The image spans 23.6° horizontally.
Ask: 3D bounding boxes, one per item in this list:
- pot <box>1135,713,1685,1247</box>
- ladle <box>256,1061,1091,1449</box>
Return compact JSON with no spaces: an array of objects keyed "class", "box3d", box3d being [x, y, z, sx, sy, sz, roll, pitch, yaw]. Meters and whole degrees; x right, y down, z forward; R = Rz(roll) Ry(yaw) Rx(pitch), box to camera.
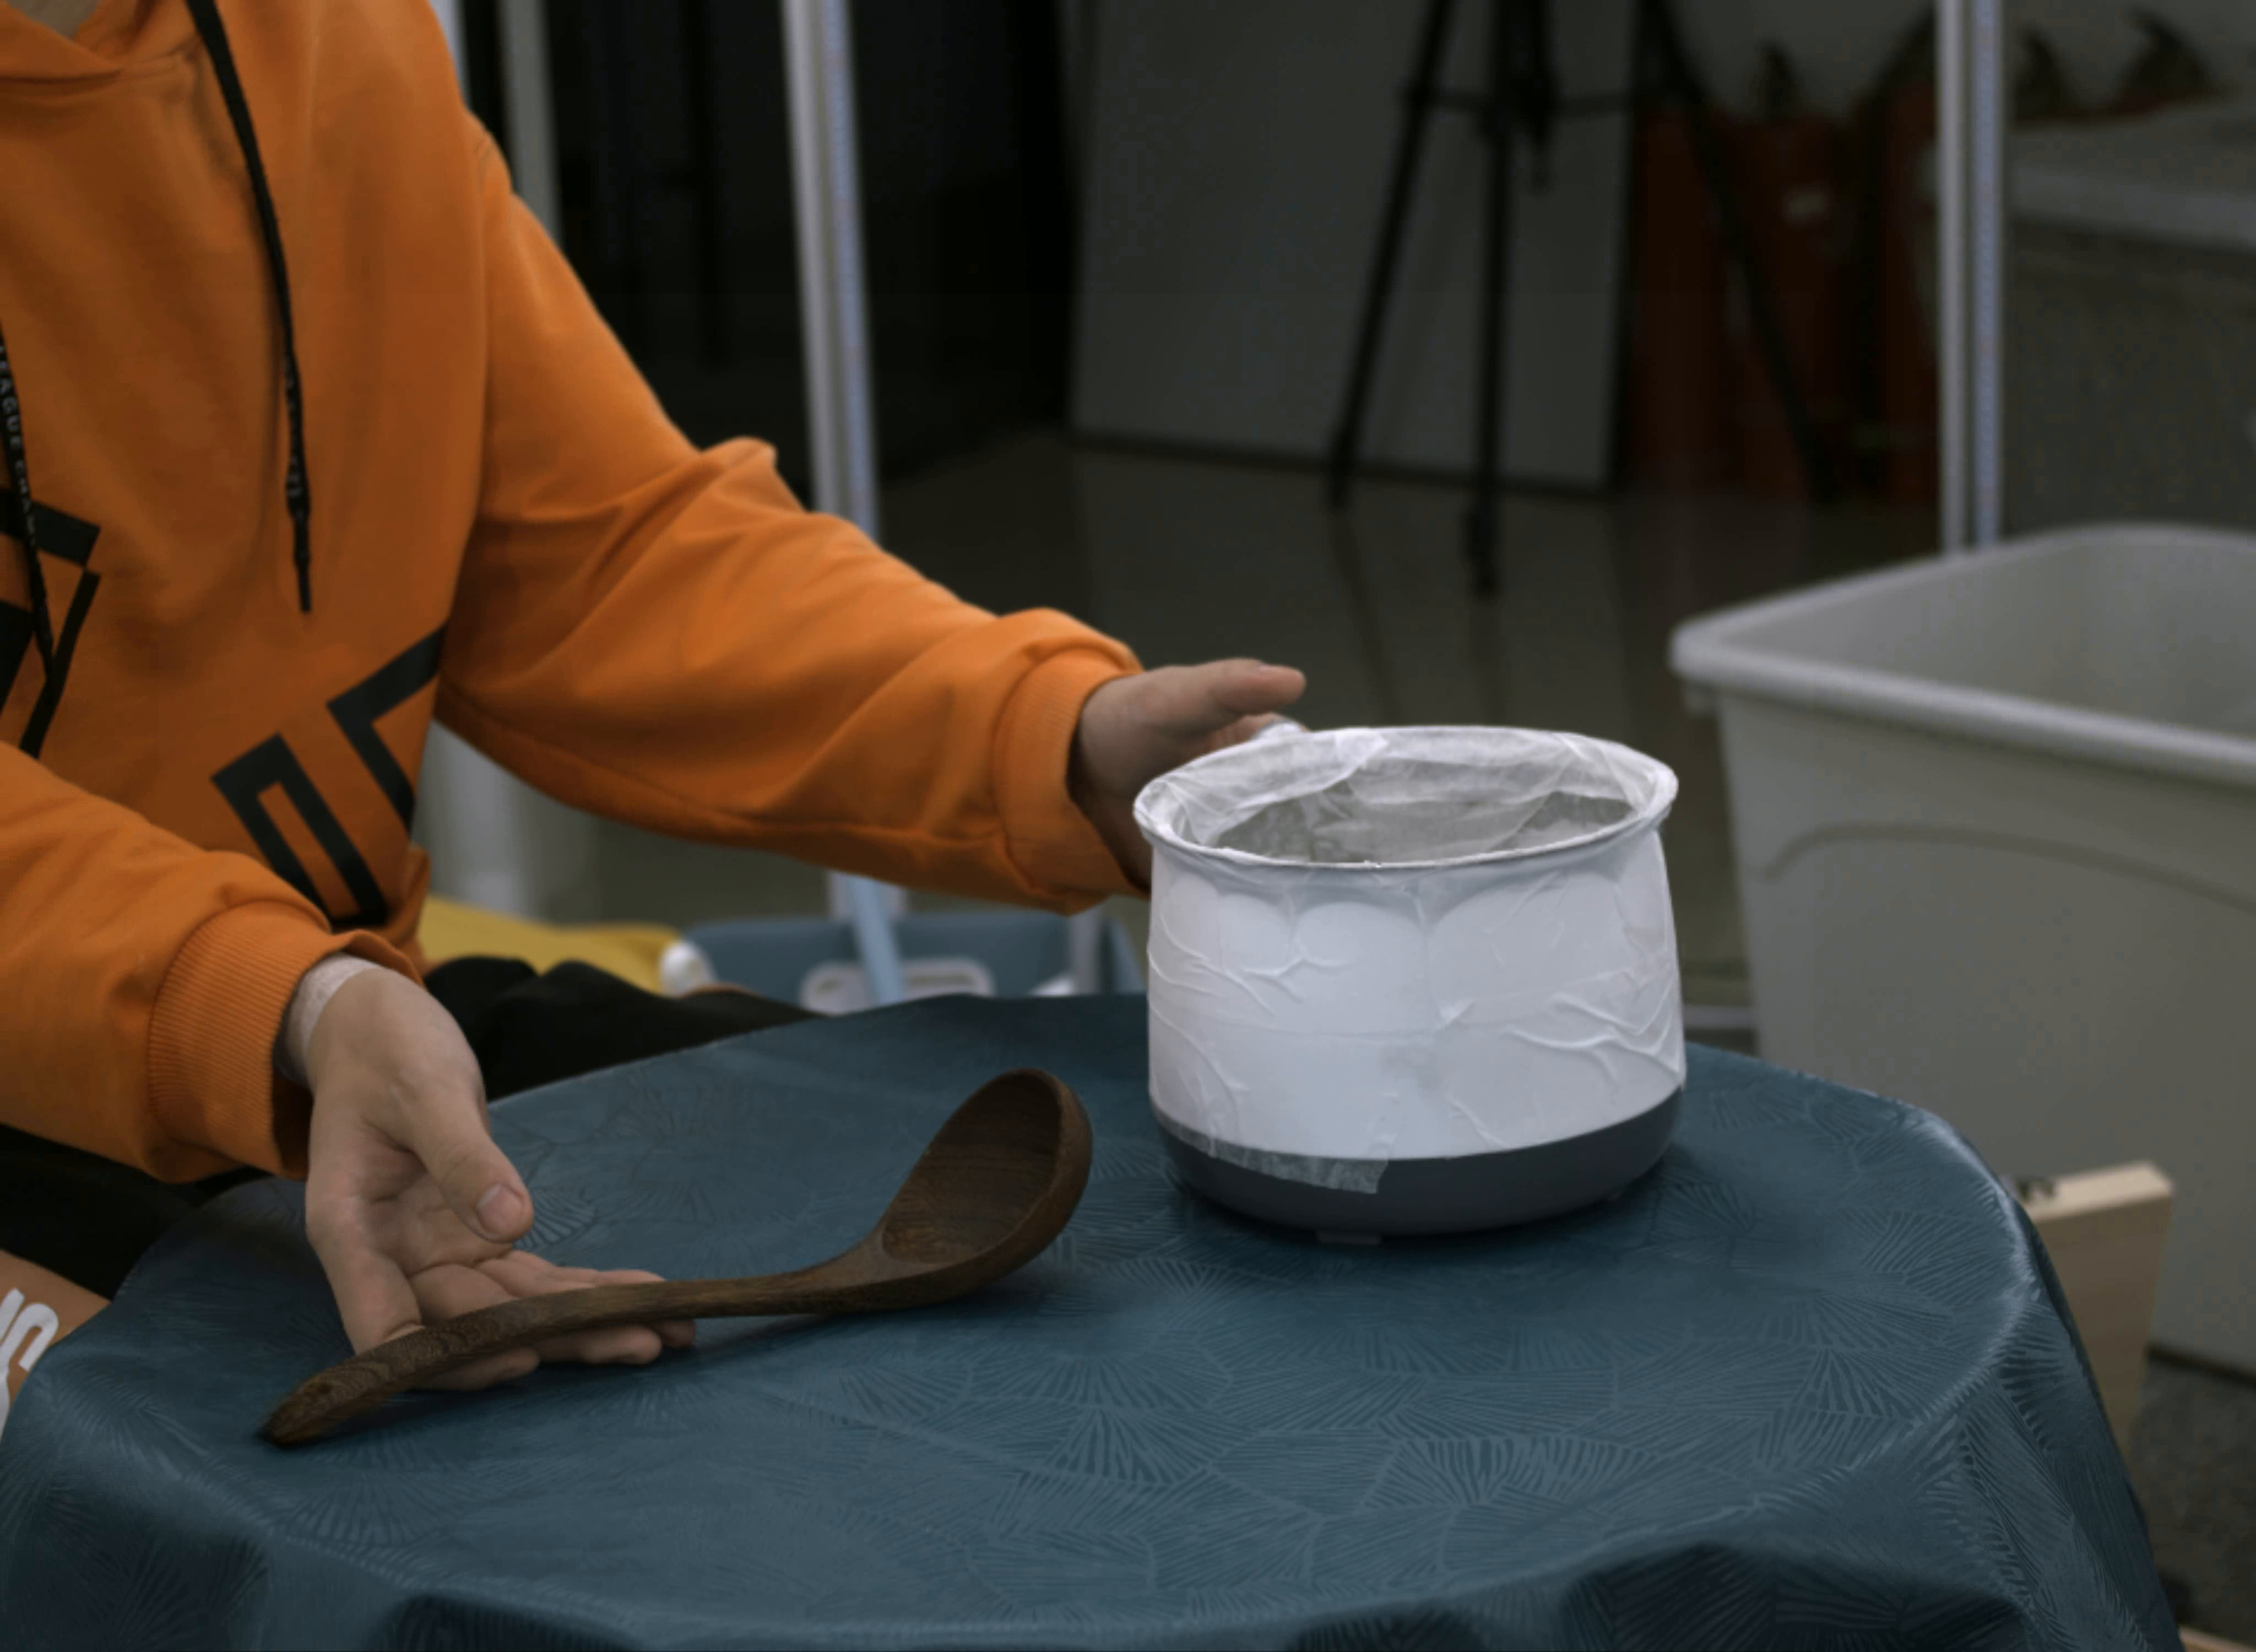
[{"class":"pot","box3d":[0.081,0.044,1.772,0.175,0.138,0.236,-9,15,-22]},{"class":"ladle","box3d":[-0.136,0.127,1.639,0.268,0.072,0.077,-10,12,-25]}]
